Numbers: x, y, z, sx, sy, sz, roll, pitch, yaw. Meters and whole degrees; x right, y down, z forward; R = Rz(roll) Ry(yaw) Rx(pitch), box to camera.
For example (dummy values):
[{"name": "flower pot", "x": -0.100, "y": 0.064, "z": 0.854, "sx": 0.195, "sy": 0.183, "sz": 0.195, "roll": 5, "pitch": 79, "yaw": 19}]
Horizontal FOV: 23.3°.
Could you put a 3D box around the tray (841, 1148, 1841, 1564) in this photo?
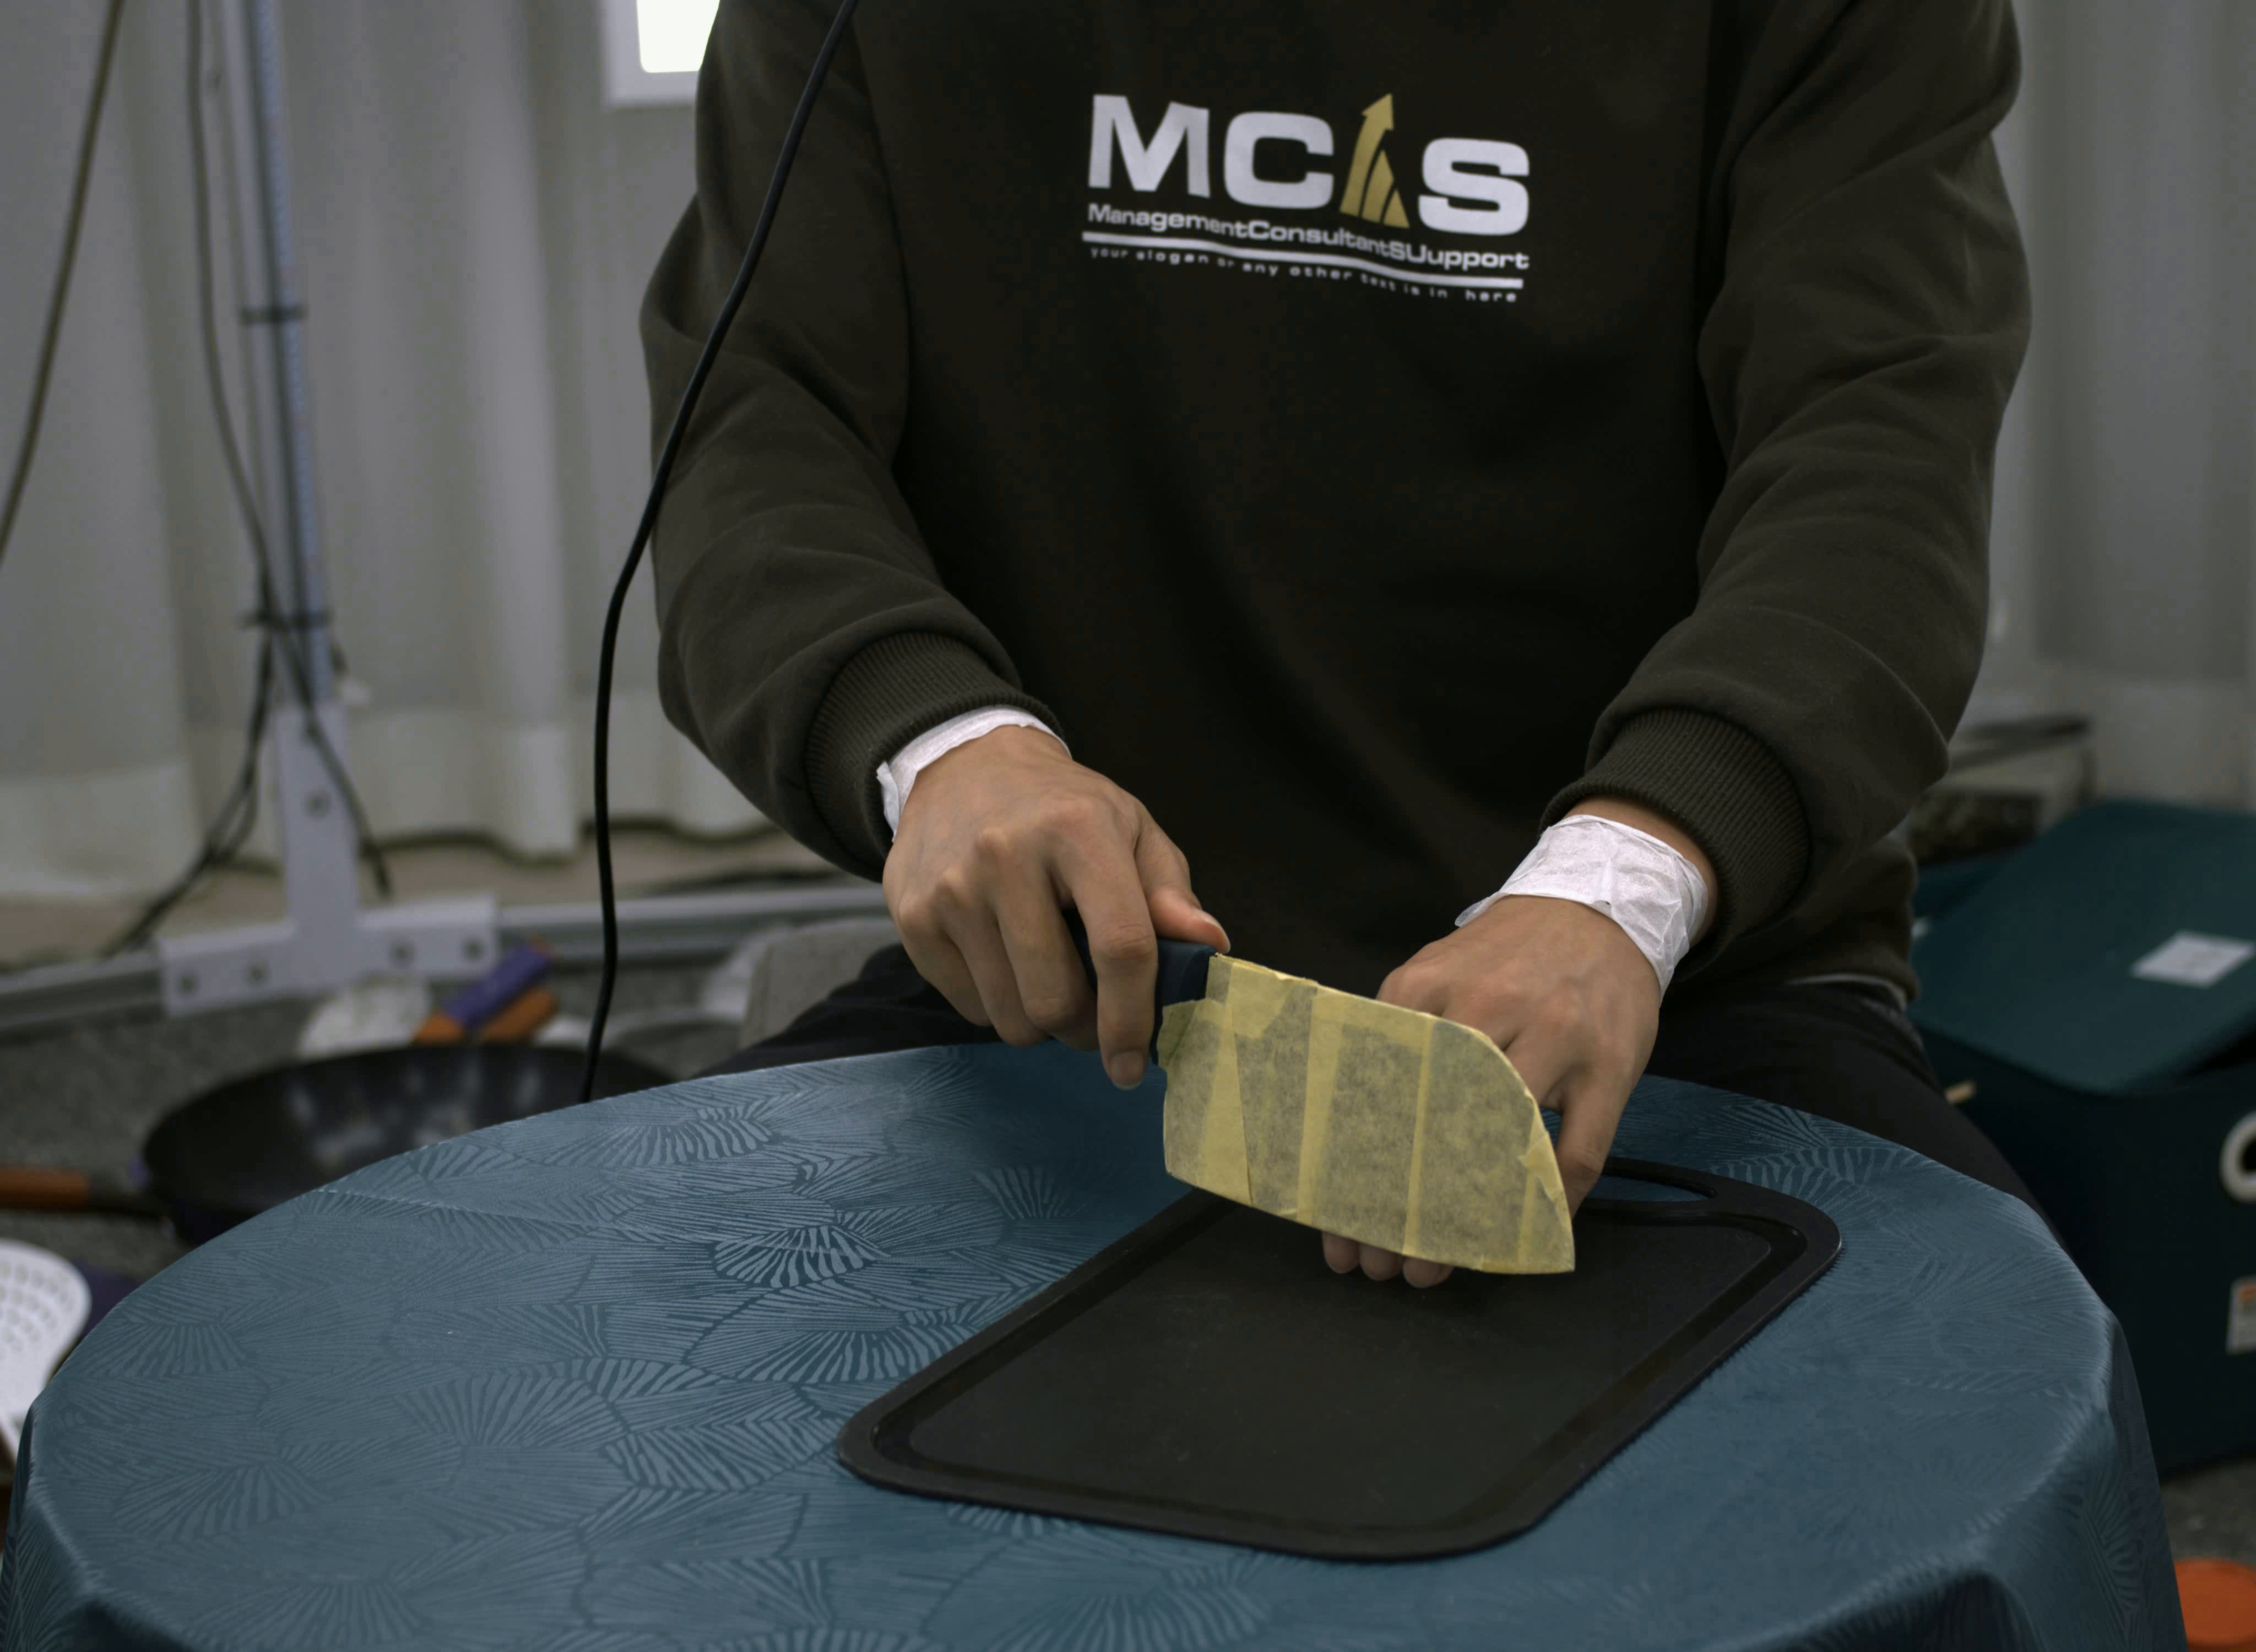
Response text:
[{"name": "tray", "x": 0.070, "y": 0.142, "z": 1.583, "sx": 0.211, "sy": 0.010, "sz": 0.326, "roll": 5, "pitch": 17, "yaw": 28}]

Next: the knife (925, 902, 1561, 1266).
[{"name": "knife", "x": 0.031, "y": 0.074, "z": 1.650, "sx": 0.027, "sy": 0.081, "sz": 0.291, "roll": 2, "pitch": 11, "yaw": -41}]
